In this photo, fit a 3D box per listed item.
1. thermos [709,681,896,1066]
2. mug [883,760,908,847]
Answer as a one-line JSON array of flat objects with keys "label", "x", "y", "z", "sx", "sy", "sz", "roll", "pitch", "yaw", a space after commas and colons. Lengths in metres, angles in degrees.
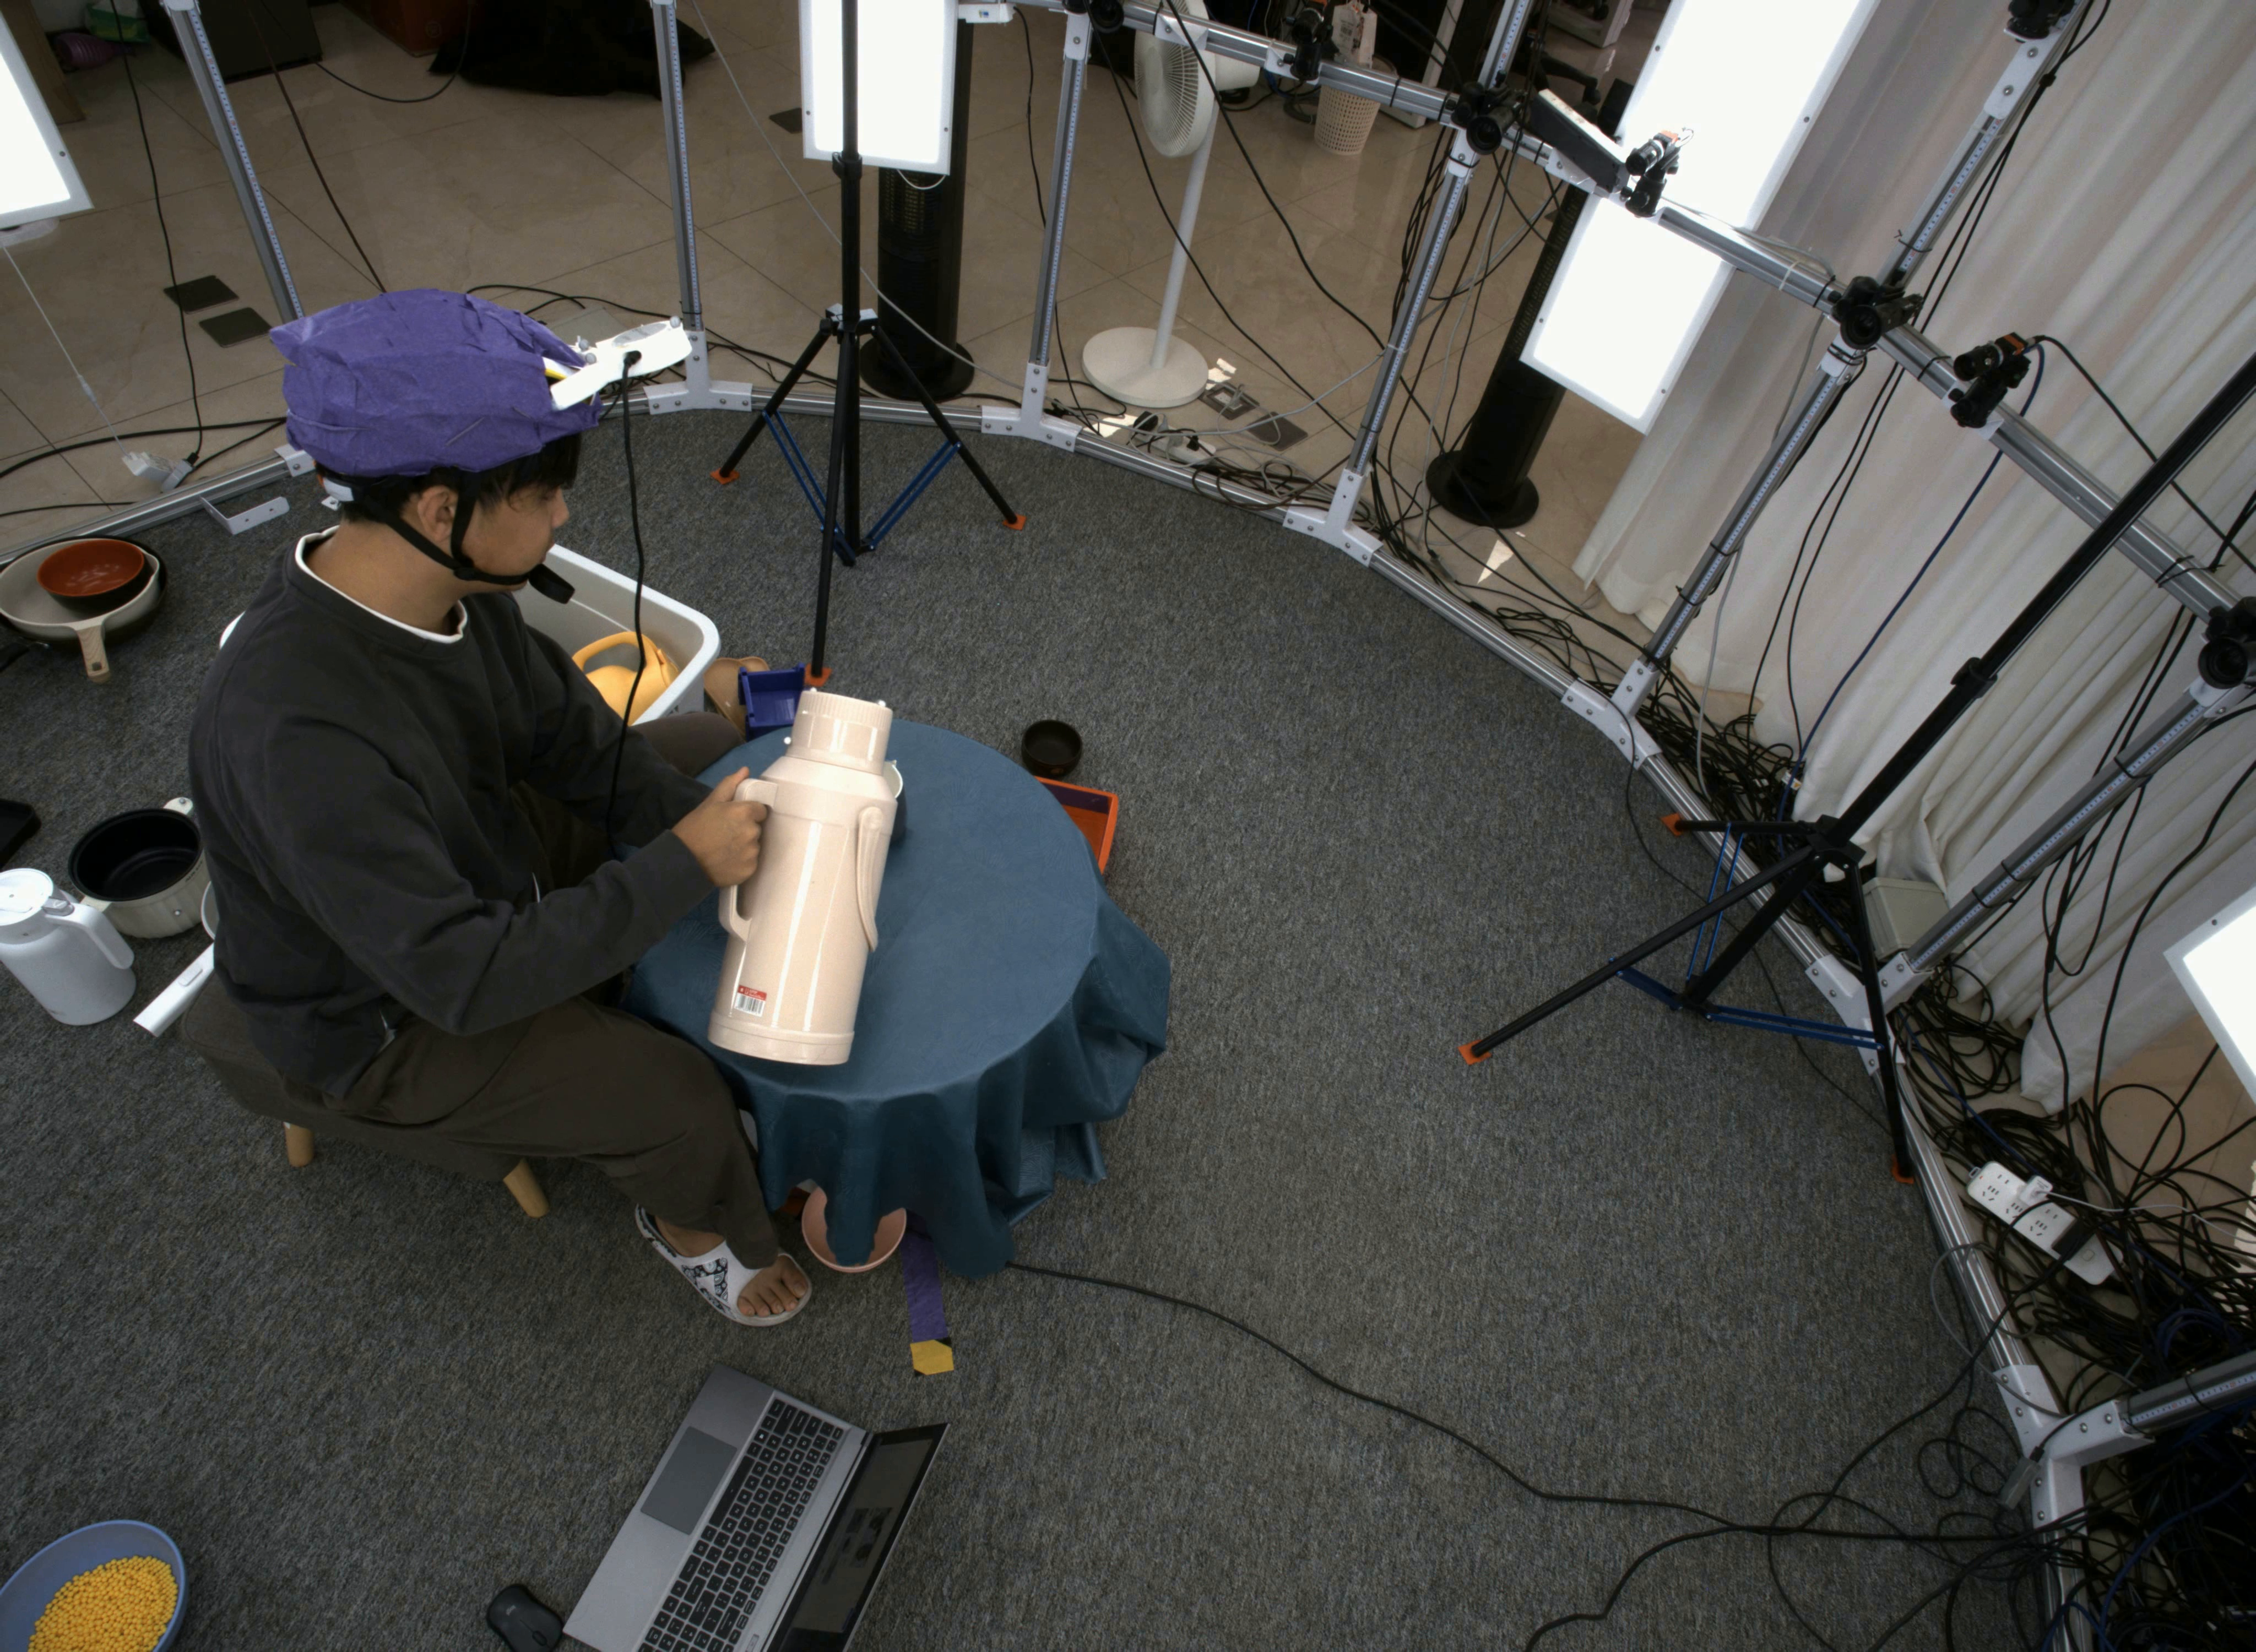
[{"label": "thermos", "x": -0.363, "y": 0.049, "z": 1.434, "sx": 0.169, "sy": 0.410, "sz": 0.212, "roll": 11, "pitch": -1, "yaw": 38}, {"label": "mug", "x": -0.342, "y": -0.042, "z": 1.714, "sx": 0.094, "sy": 0.092, "sz": 0.120, "roll": -13, "pitch": 57, "yaw": -21}]
